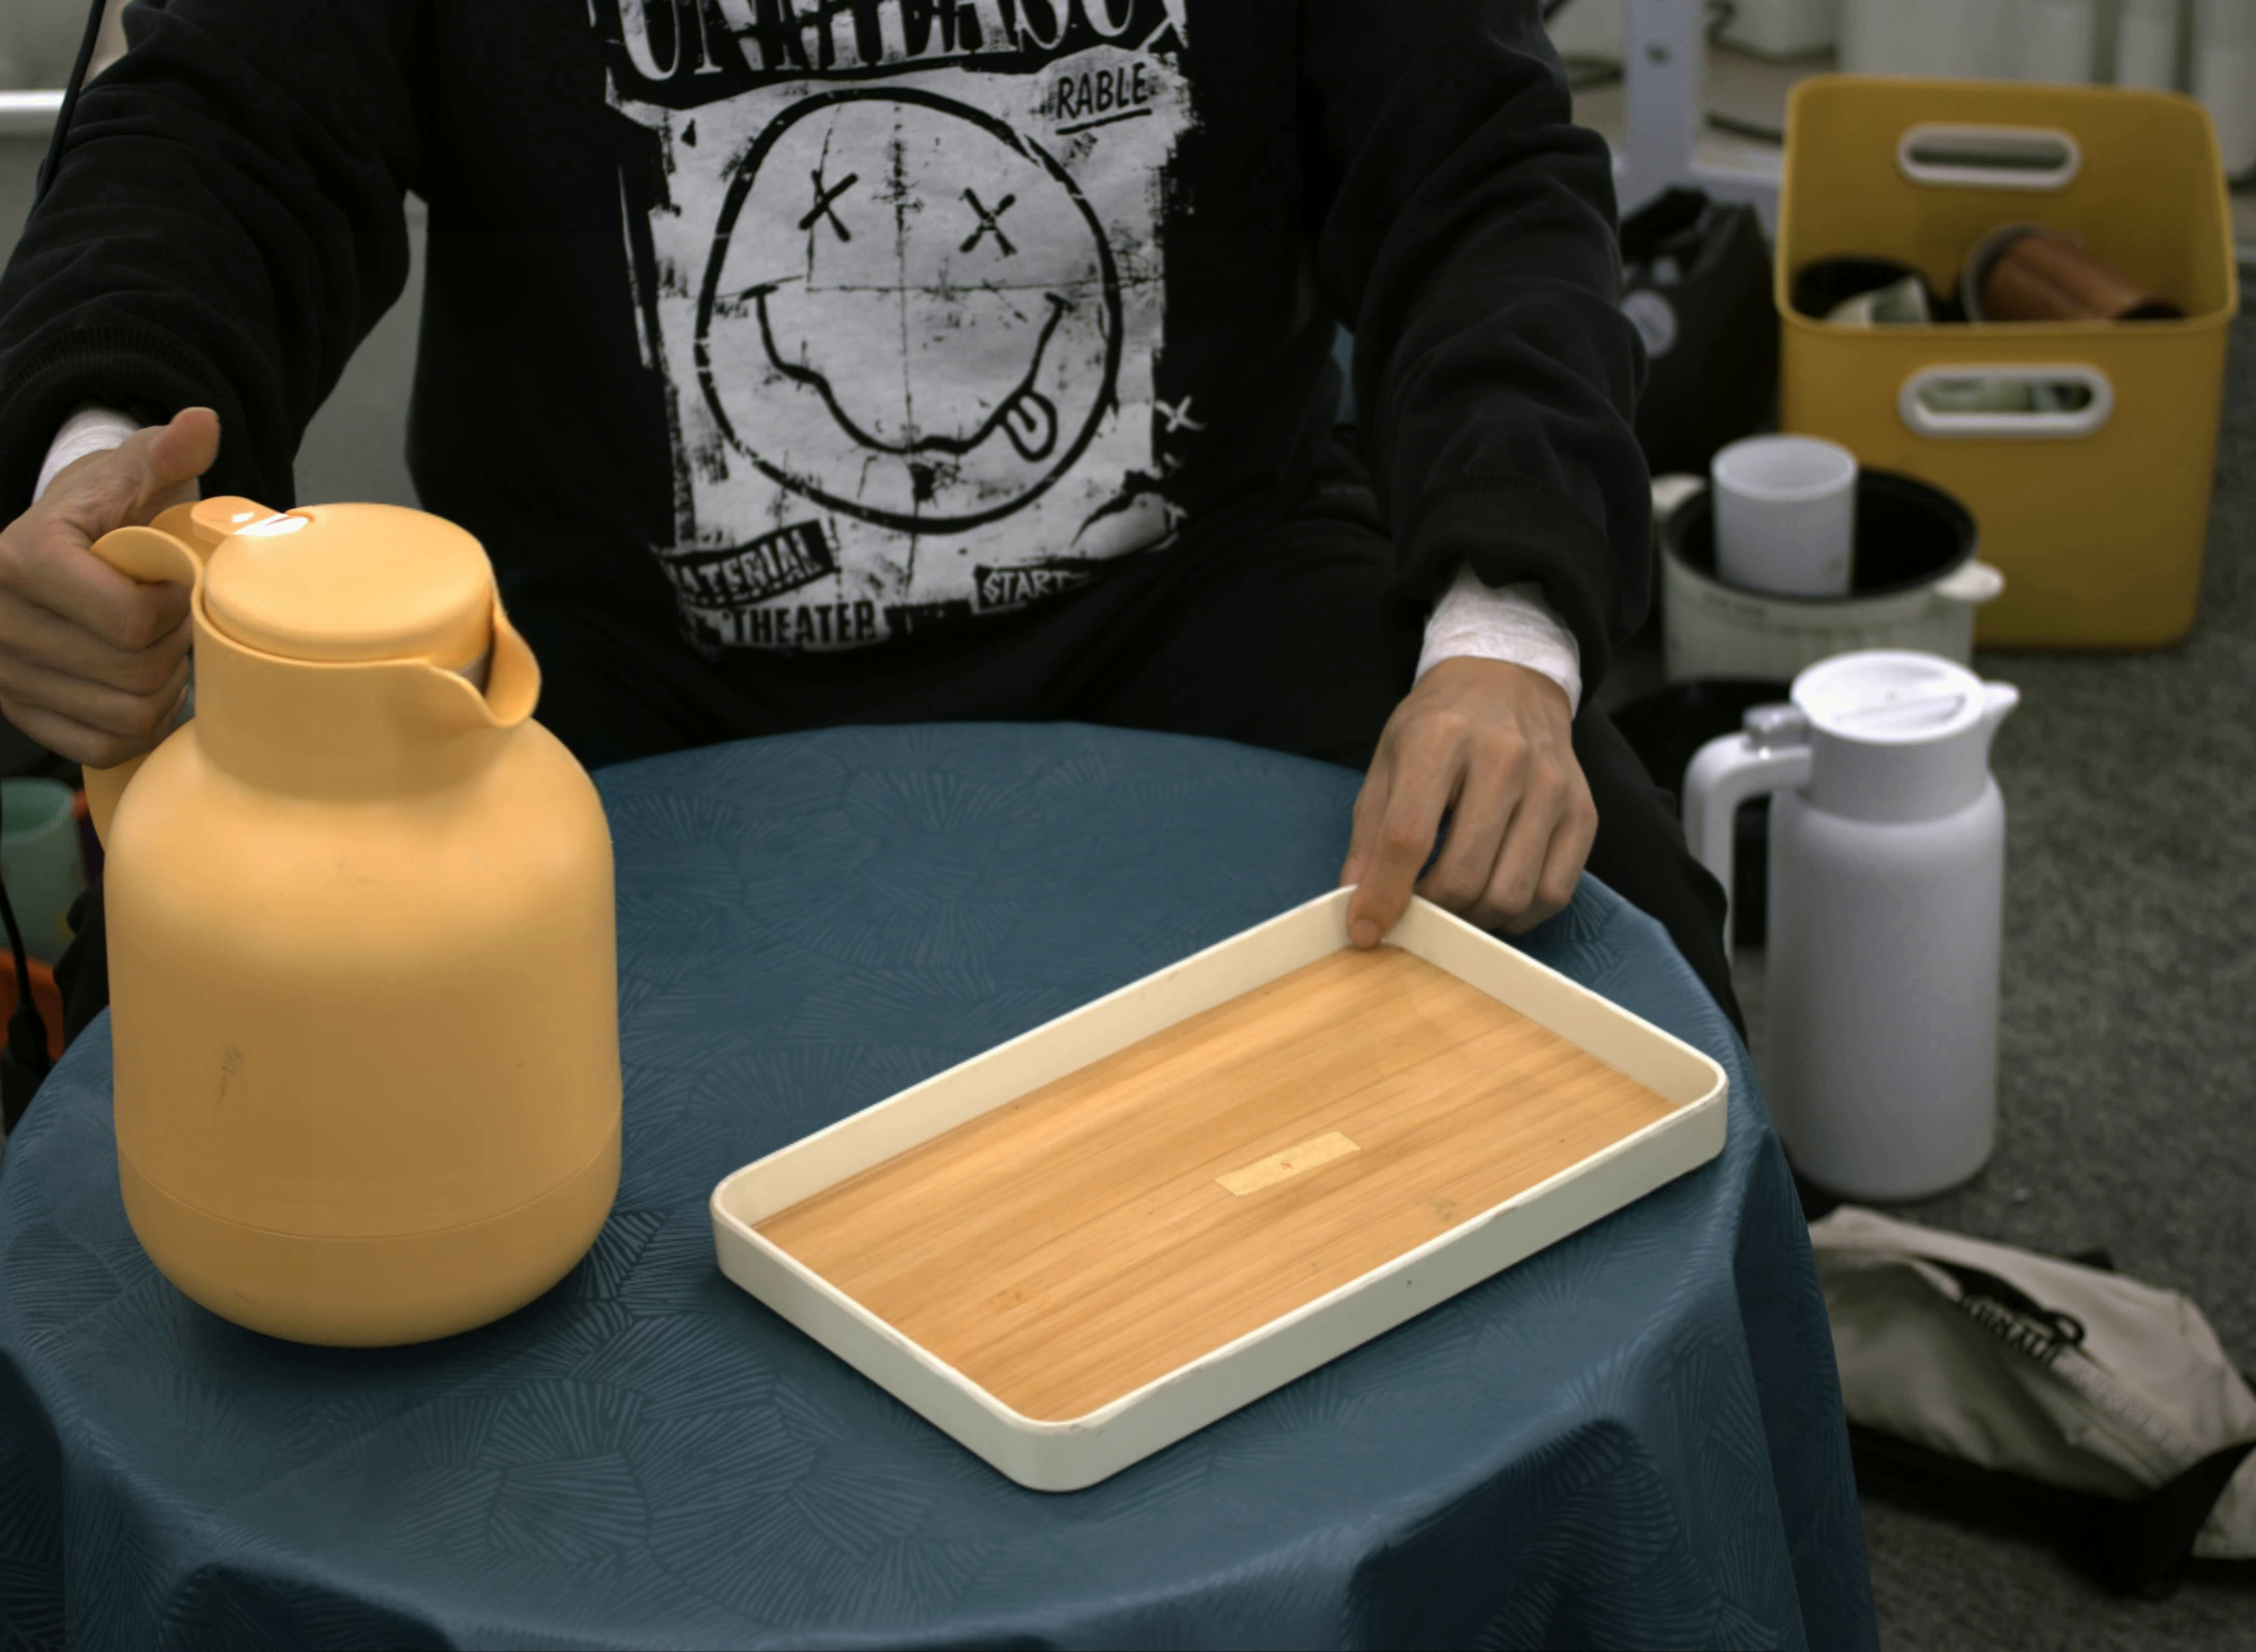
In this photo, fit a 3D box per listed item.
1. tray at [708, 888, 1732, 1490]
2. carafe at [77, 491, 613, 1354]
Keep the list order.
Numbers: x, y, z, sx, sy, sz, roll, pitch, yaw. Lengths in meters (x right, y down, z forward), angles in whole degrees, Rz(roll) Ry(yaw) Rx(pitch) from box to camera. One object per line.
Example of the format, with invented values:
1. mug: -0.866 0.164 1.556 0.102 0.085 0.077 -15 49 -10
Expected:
1. tray: 0.032 0.113 1.838 0.303 0.027 0.192 -23 35 -33
2. carafe: -0.257 0.020 1.792 0.202 0.257 0.165 25 34 35
